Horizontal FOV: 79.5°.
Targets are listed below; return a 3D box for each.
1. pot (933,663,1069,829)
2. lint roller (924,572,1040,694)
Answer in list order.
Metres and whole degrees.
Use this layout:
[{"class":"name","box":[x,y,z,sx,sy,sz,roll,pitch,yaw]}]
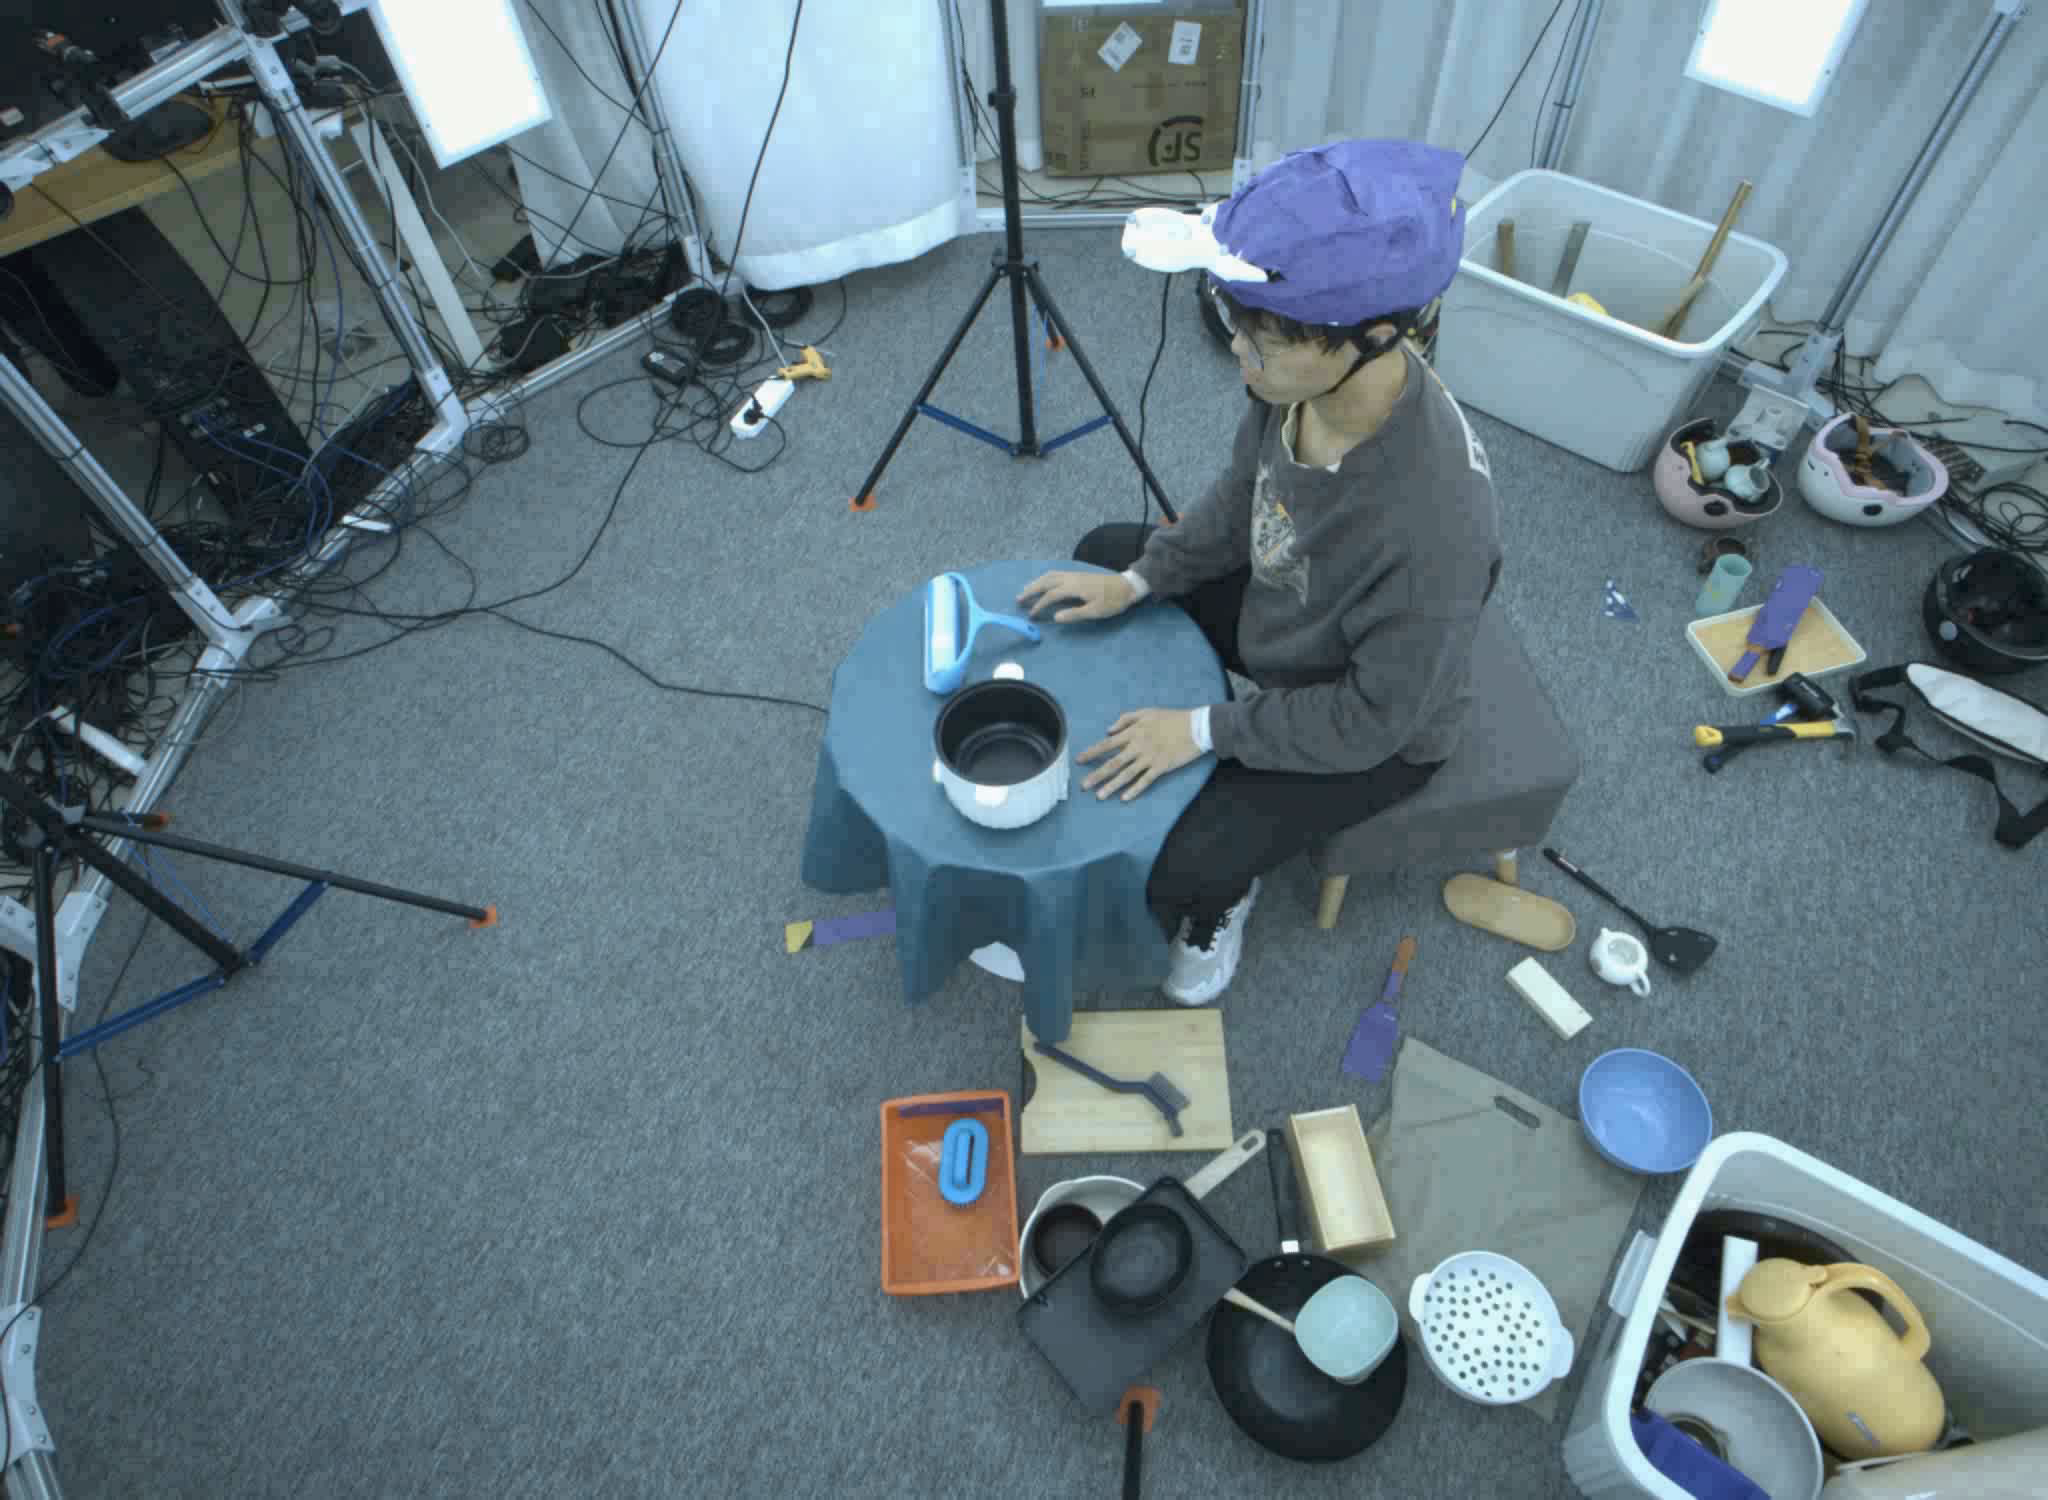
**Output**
[{"class":"pot","box":[-0.033,0.013,1.690,0.190,0.144,0.238,5,53,2]},{"class":"lint roller","box":[-0.068,-0.186,1.886,0.180,0.069,0.226,-6,53,-1]}]
